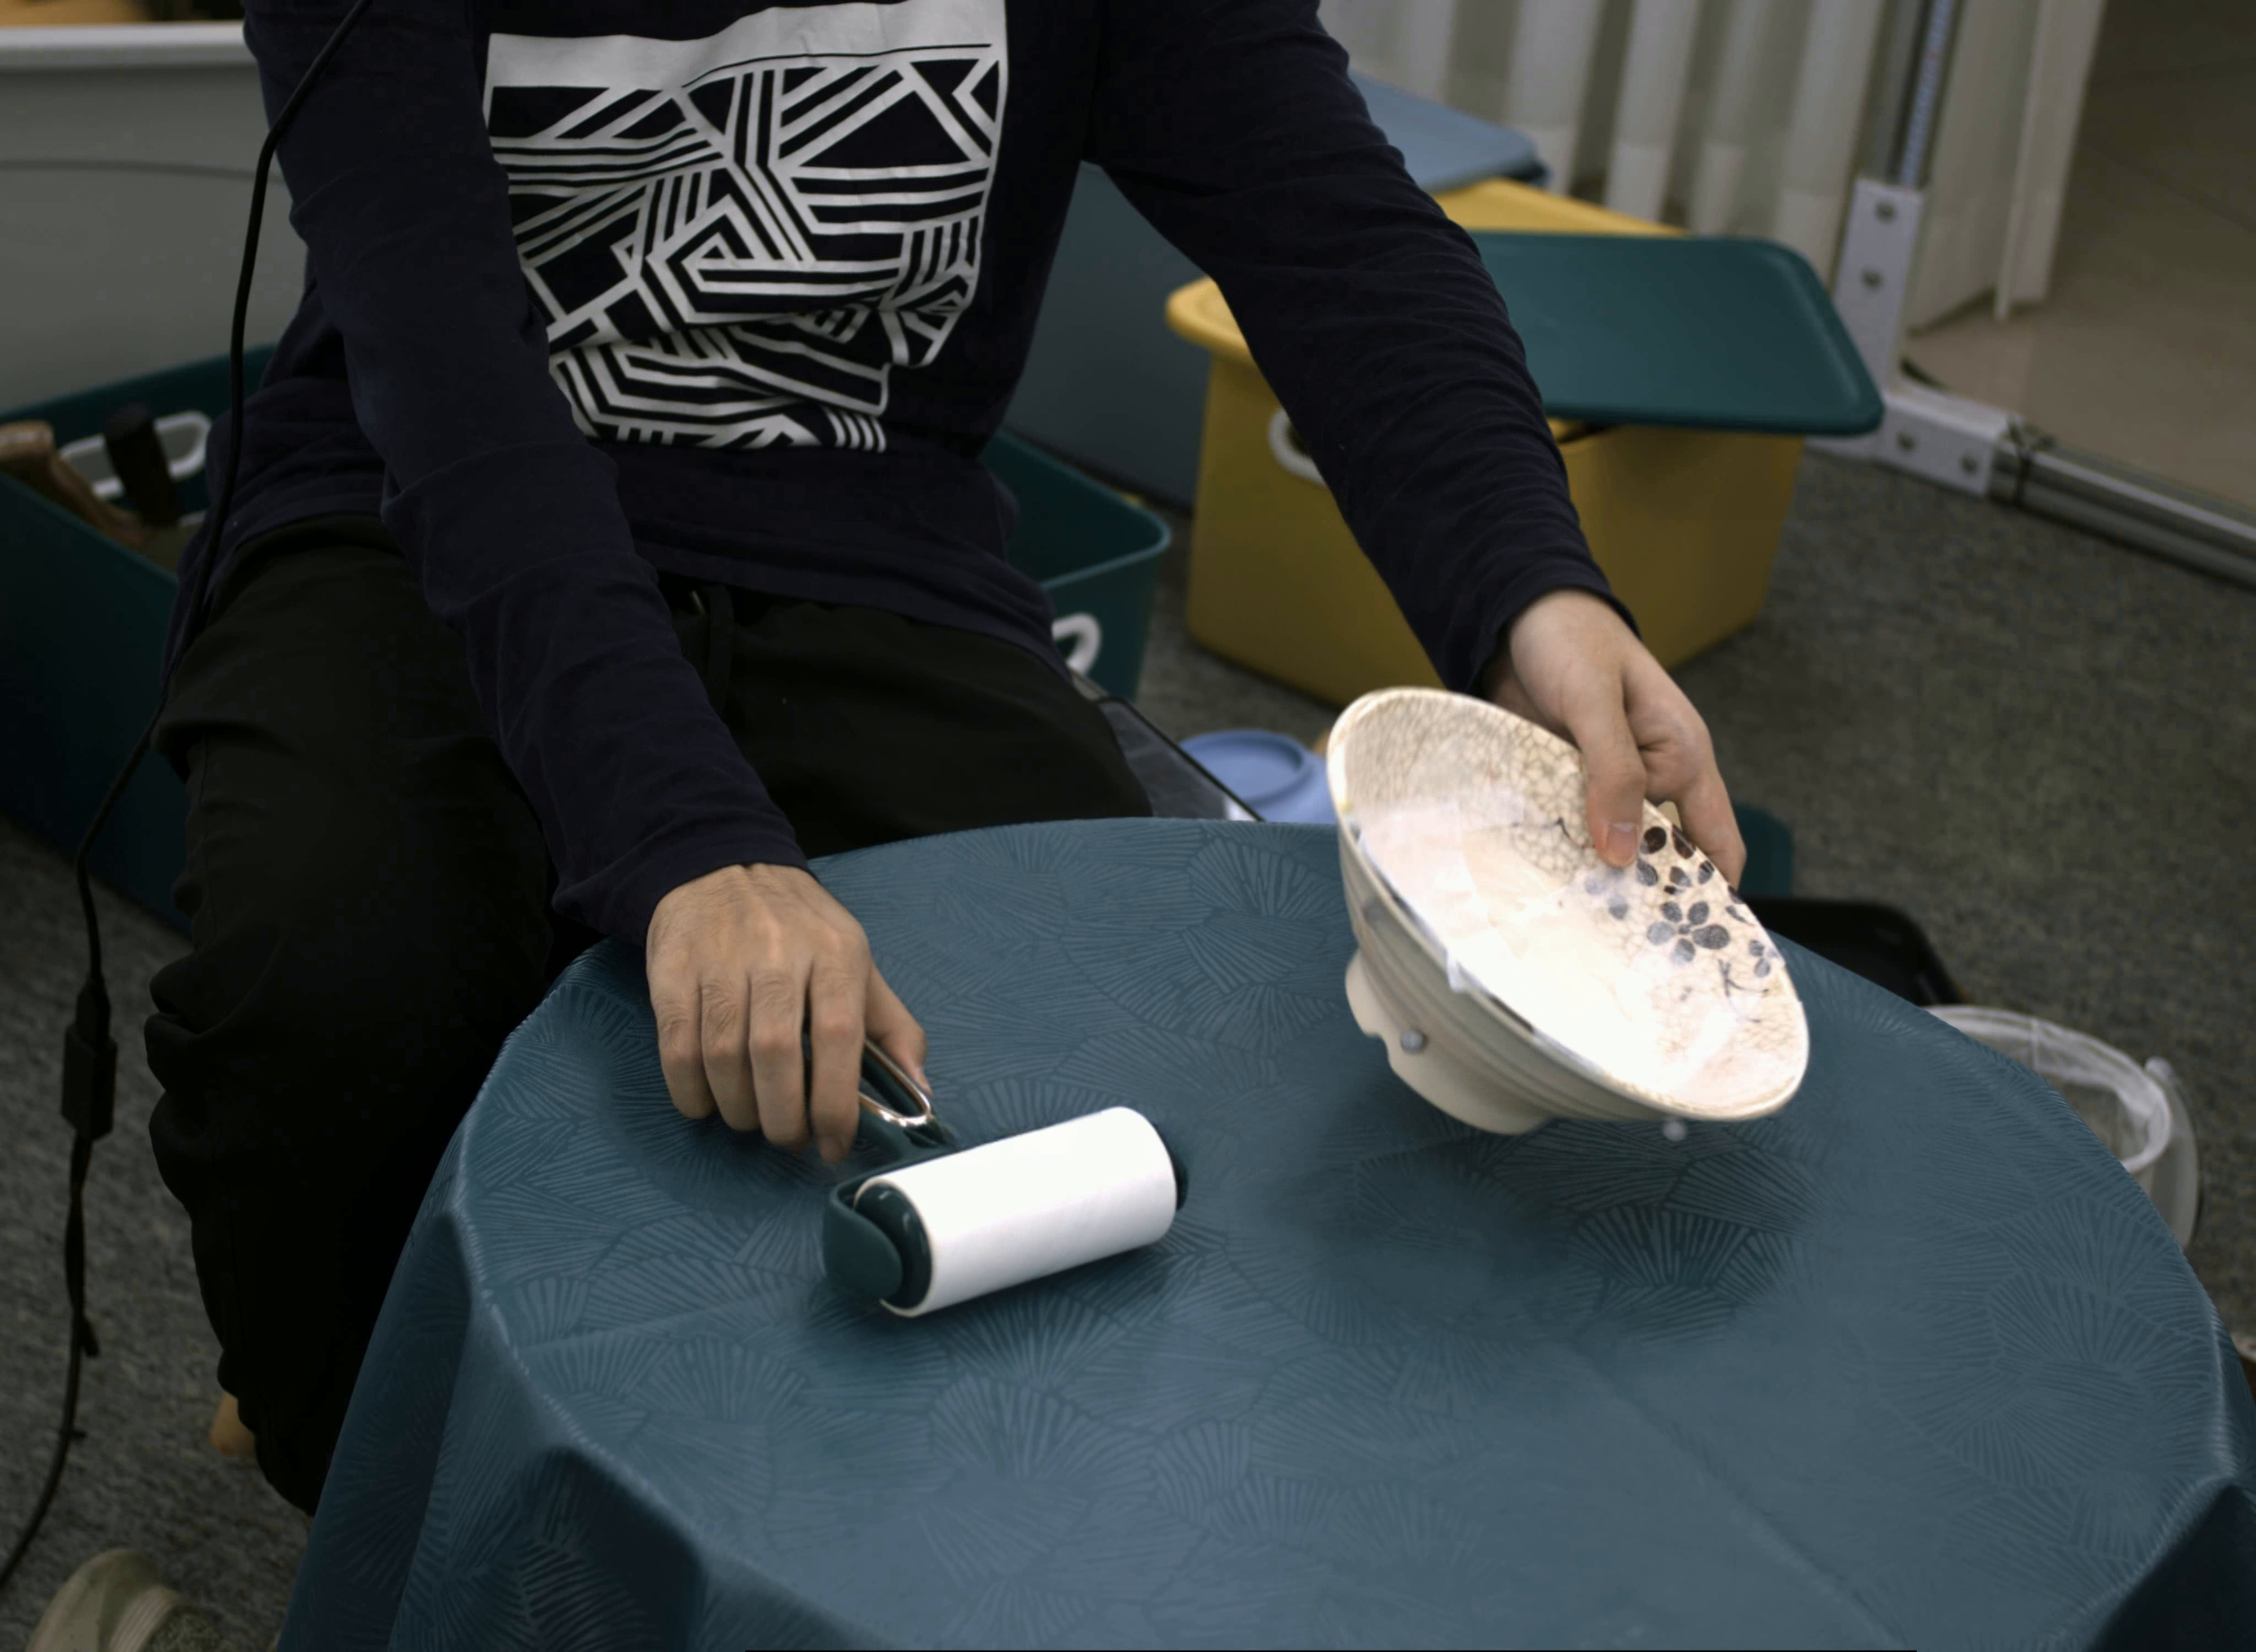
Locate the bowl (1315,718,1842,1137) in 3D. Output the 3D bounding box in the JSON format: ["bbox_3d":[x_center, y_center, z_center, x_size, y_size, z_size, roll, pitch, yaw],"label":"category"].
[{"bbox_3d":[0.141,0.051,1.848,0.203,0.078,0.205,22,24,-11],"label":"bowl"}]

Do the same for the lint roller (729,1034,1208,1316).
[{"bbox_3d":[-0.077,0.096,1.785,0.133,0.048,0.182,-14,35,-34],"label":"lint roller"}]
